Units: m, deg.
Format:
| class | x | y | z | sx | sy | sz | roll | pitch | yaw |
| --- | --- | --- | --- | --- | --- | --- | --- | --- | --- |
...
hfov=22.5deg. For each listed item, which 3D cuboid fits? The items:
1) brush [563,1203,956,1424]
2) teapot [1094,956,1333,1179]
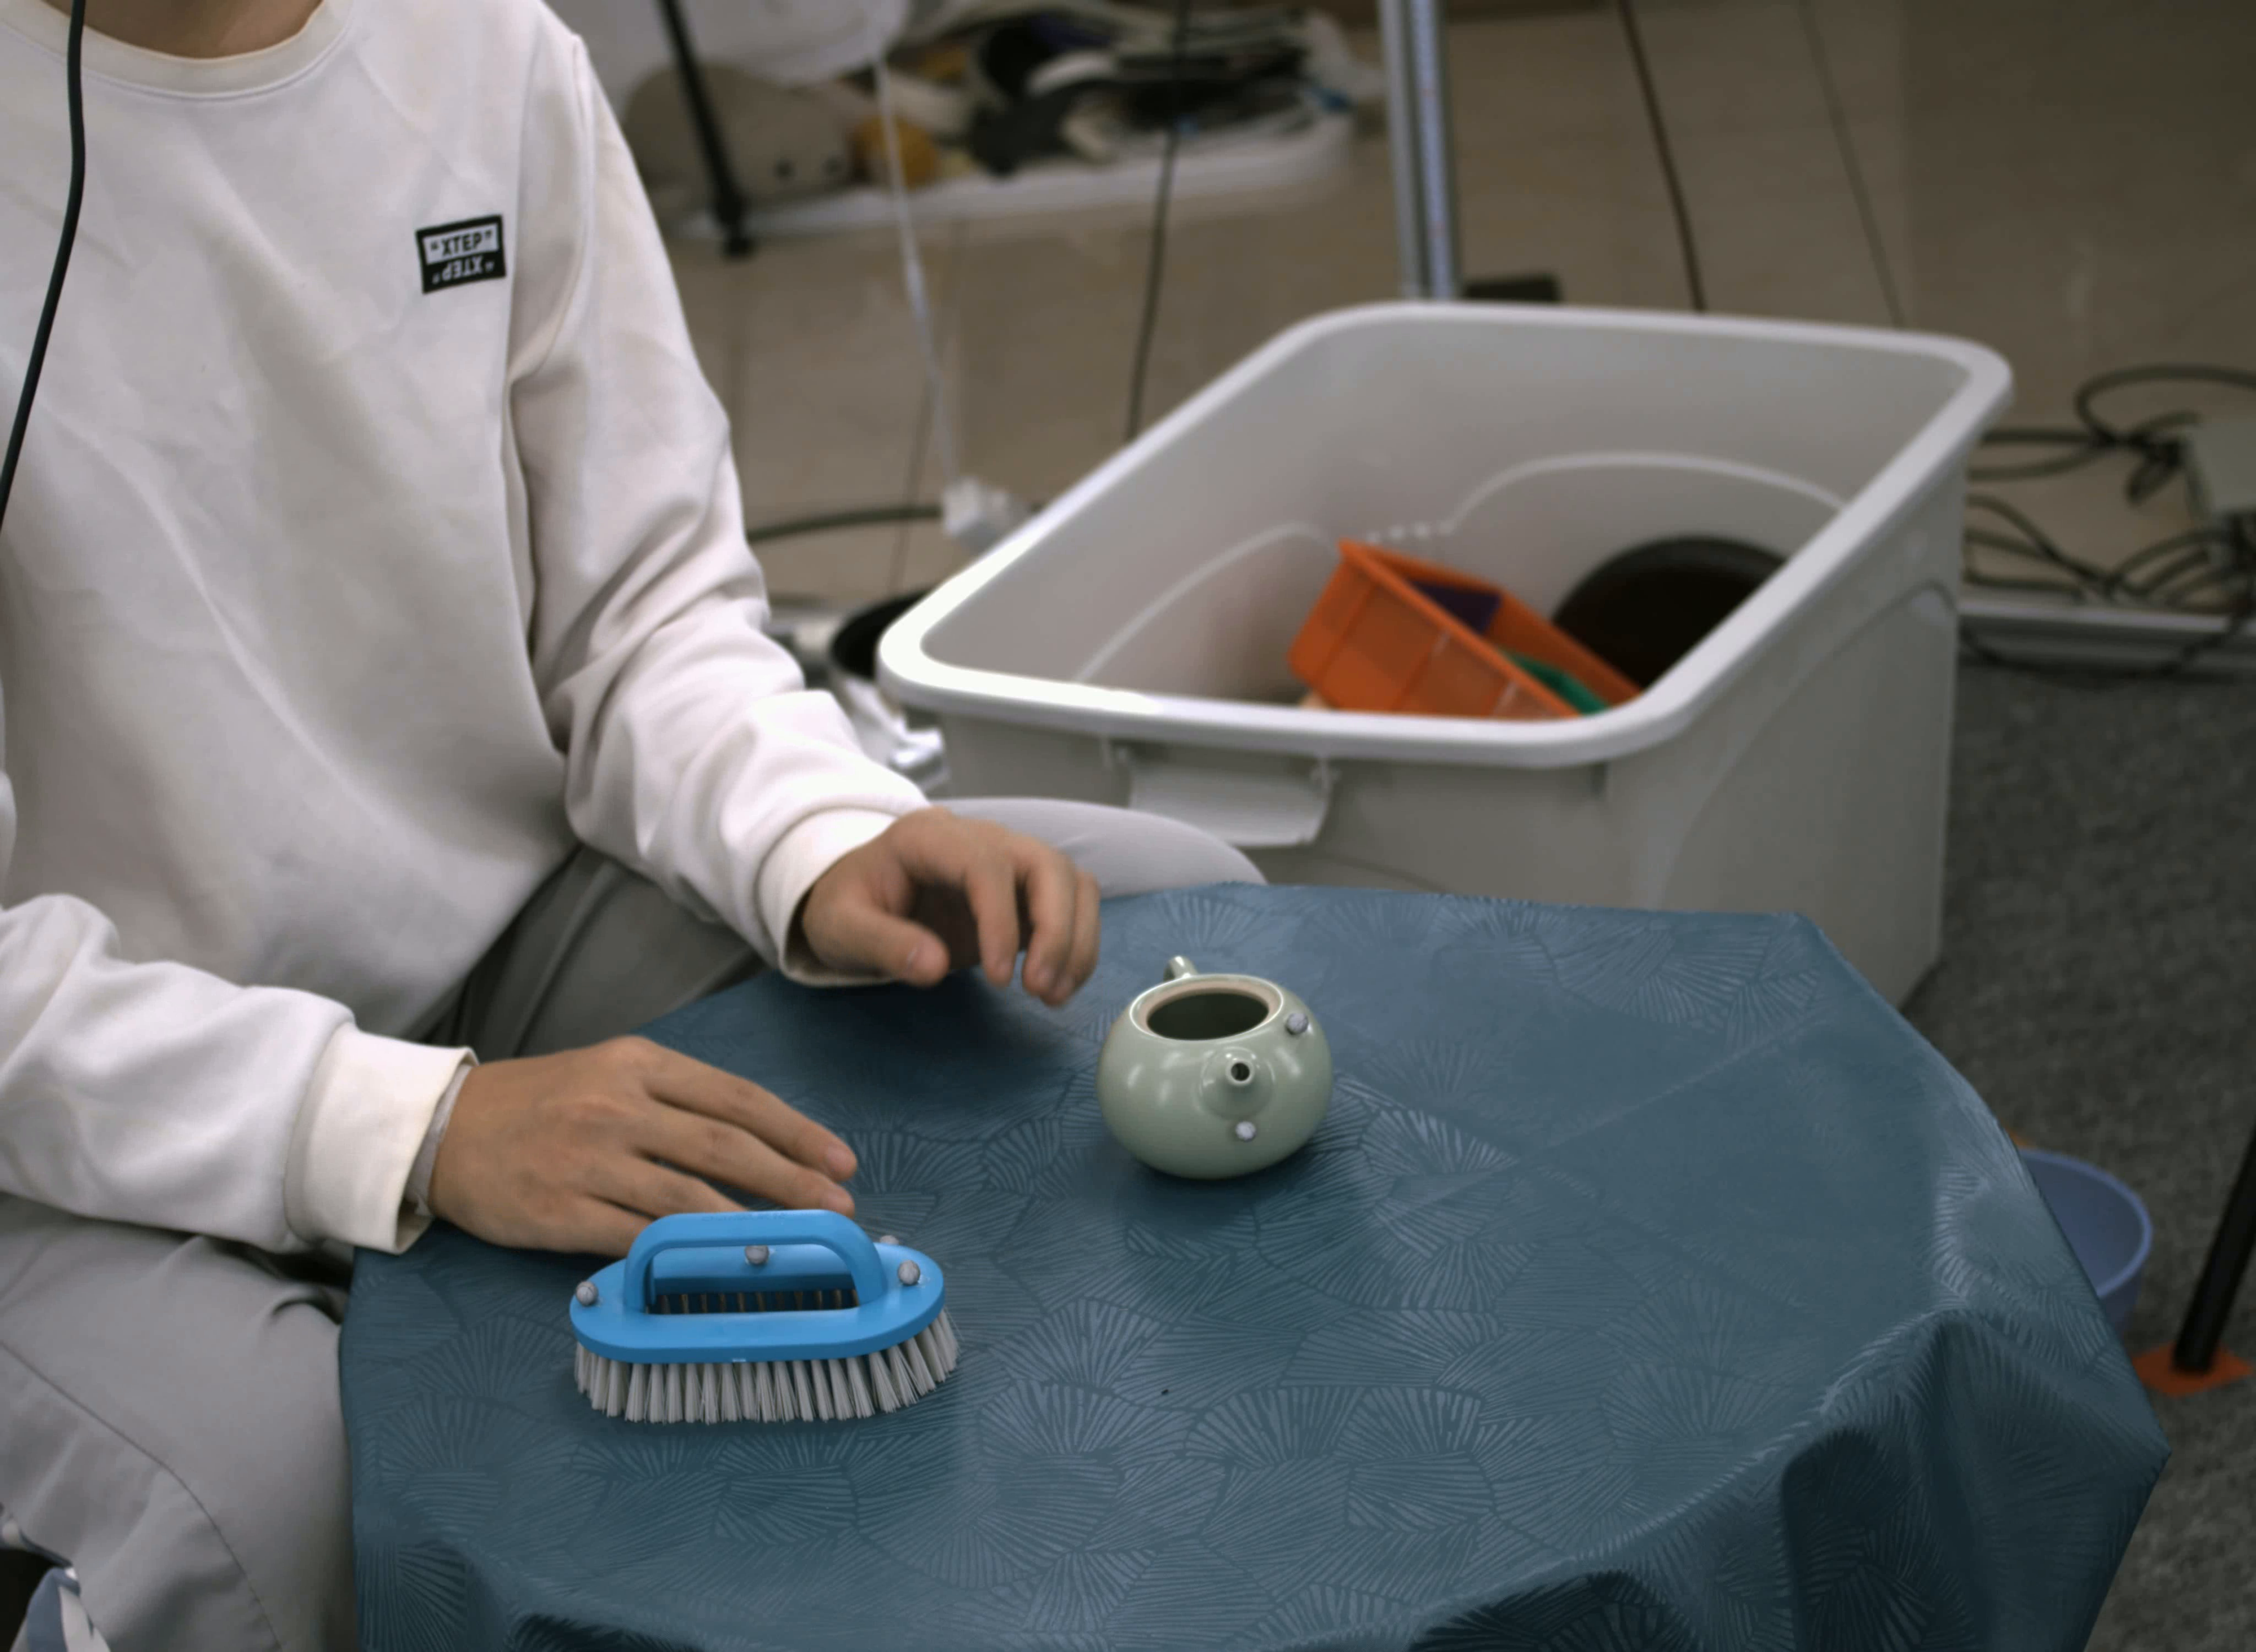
| class | x | y | z | sx | sy | sz | roll | pitch | yaw |
| --- | --- | --- | --- | --- | --- | --- | --- | --- | --- |
| brush | -0.136 | 0.167 | 2.040 | 0.141 | 0.065 | 0.083 | -2 | 30 | 11 |
| teapot | 0.031 | 0.092 | 2.170 | 0.091 | 0.062 | 0.127 | -11 | 23 | -3 |
